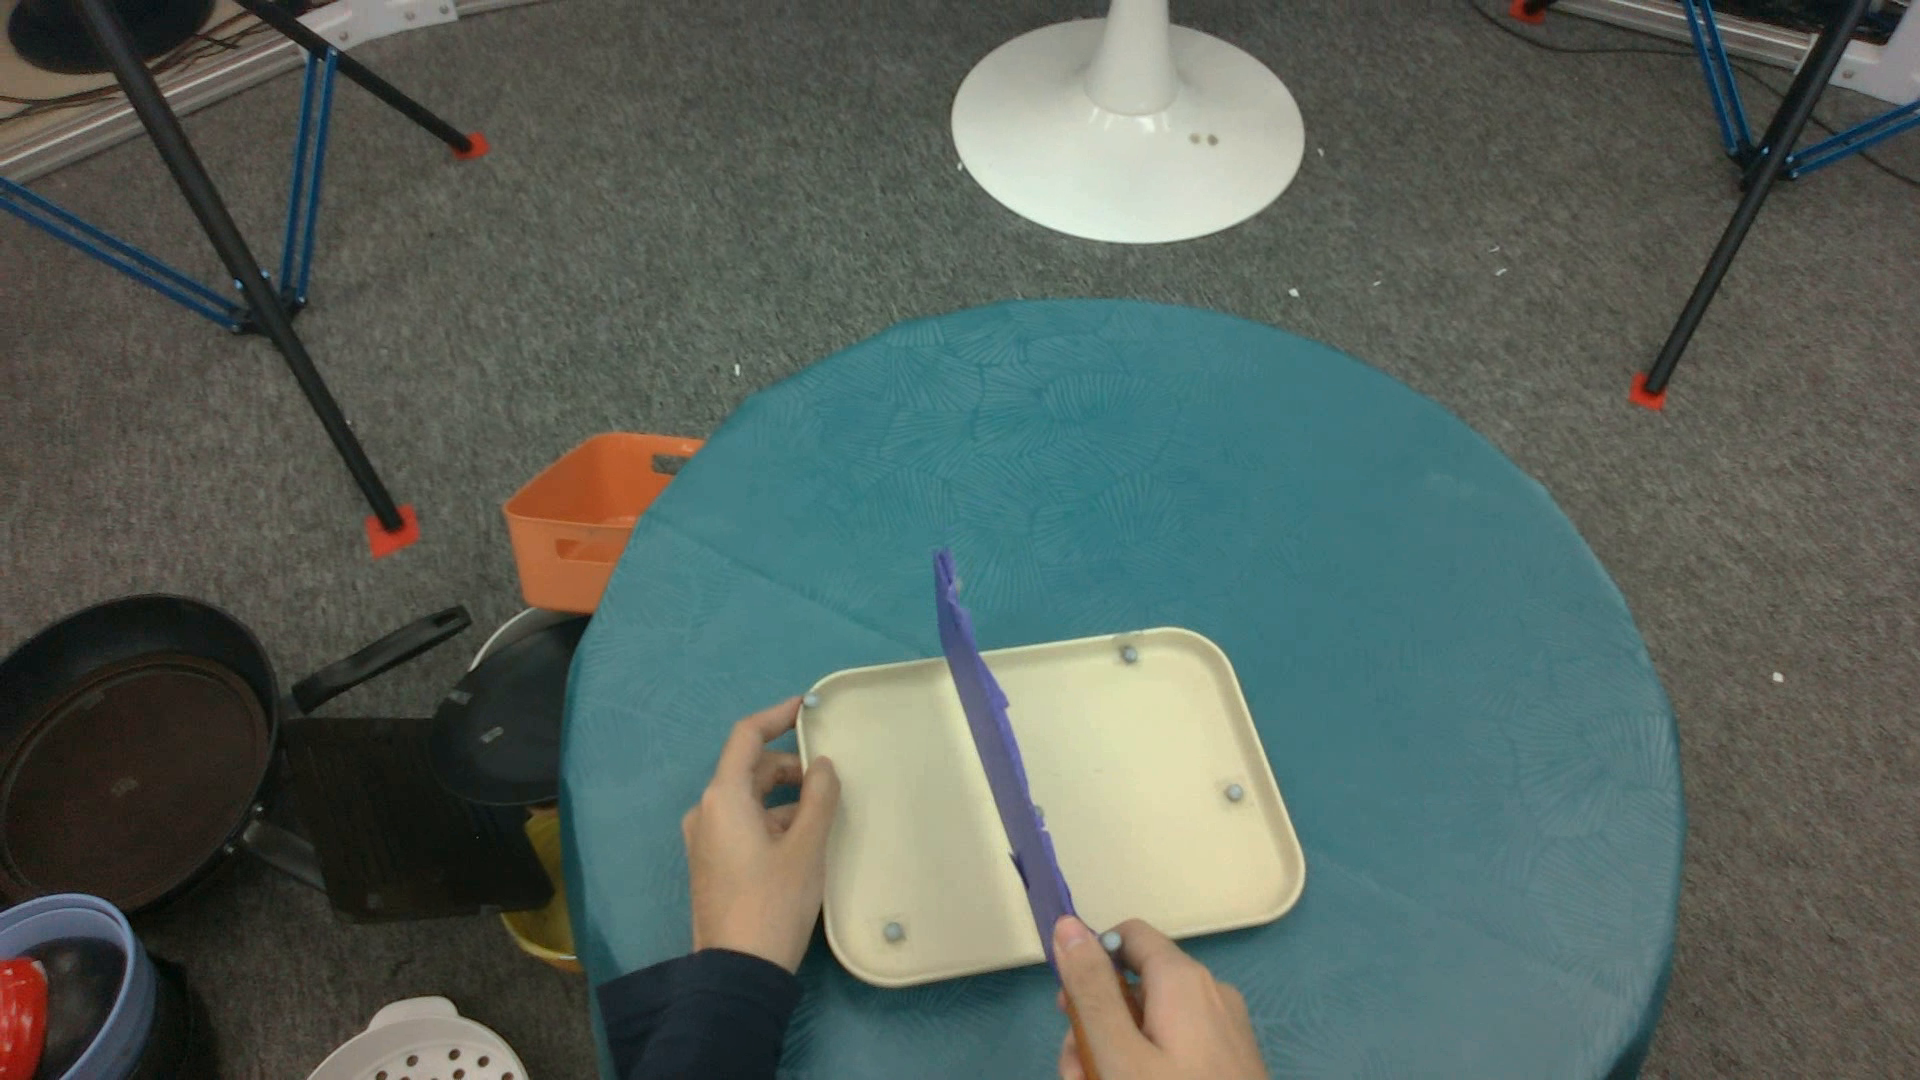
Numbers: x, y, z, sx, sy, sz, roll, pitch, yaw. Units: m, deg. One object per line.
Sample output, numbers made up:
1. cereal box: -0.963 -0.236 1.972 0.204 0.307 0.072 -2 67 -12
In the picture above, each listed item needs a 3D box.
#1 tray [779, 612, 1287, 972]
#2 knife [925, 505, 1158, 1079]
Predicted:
1. tray: 0.034 0.122 0.700 0.240 0.017 0.172 -6 55 -11
2. knife: 0.031 0.133 0.615 0.032 0.103 0.316 -12 56 -8
